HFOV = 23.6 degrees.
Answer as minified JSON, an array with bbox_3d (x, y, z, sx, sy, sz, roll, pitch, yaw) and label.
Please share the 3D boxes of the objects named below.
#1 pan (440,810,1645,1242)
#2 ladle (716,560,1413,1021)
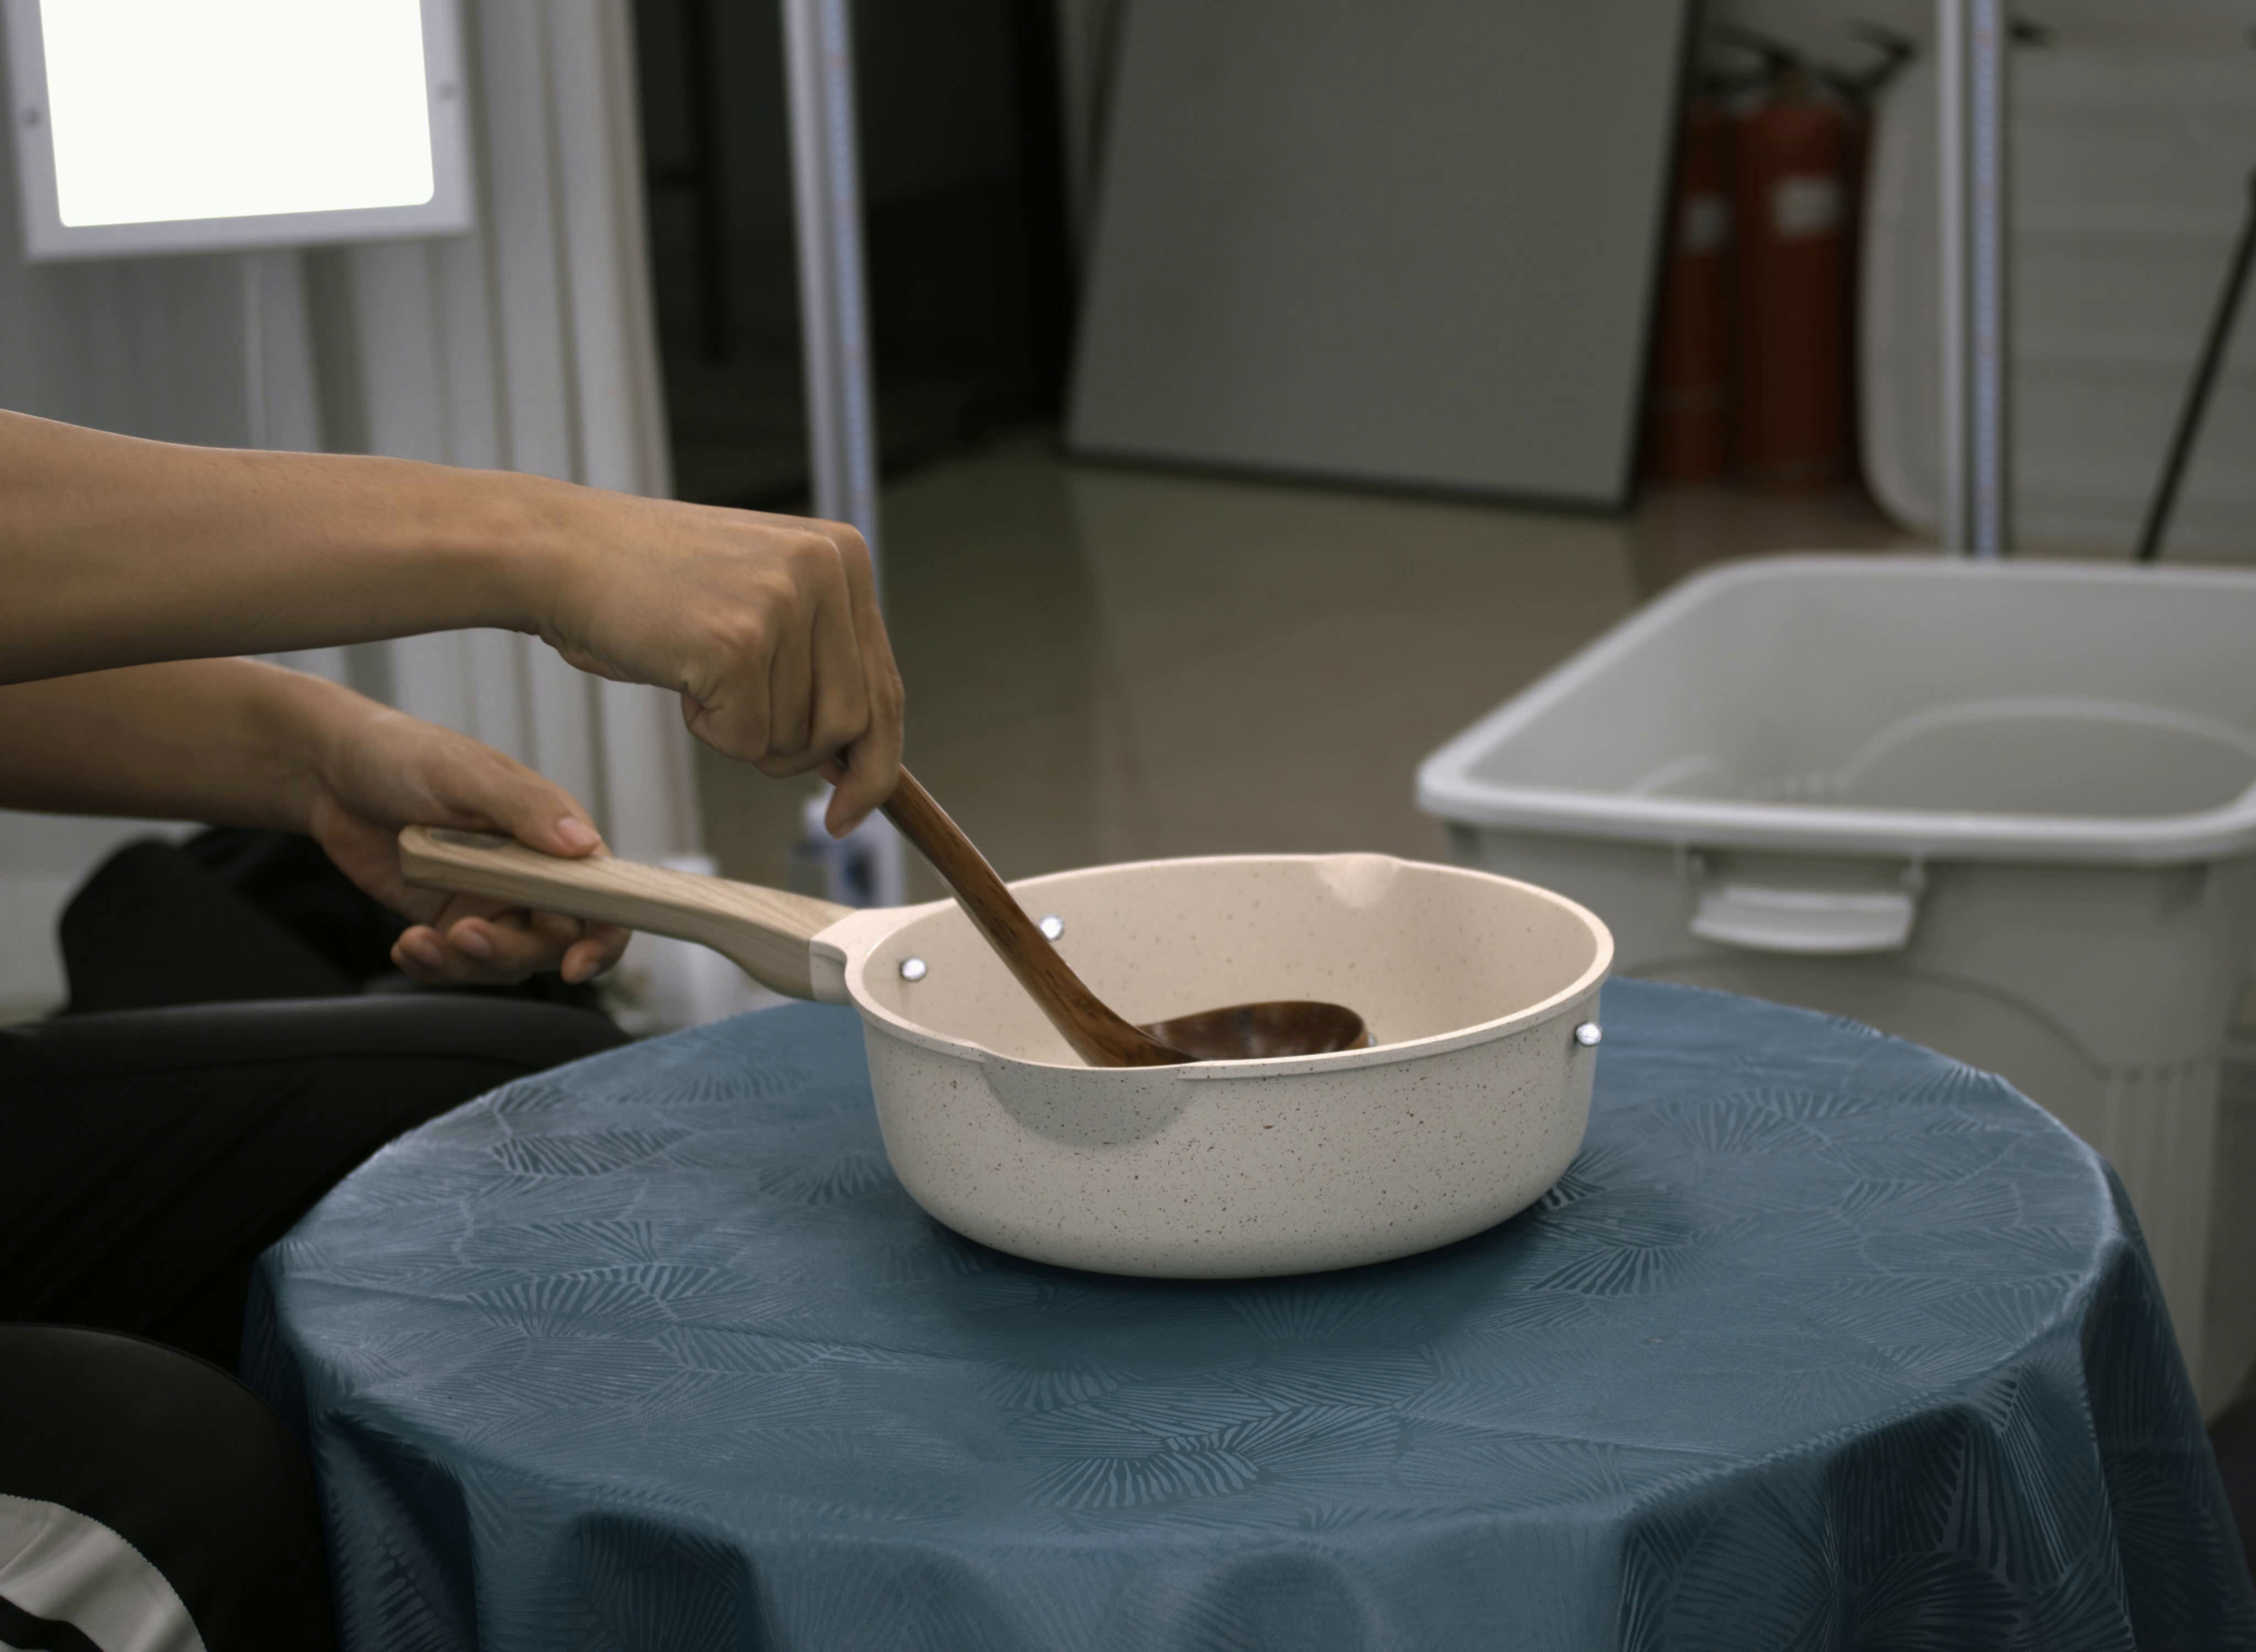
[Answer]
[{"bbox_3d":[-0.036,0.057,1.813,0.435,0.103,0.260,2,16,25],"label":"pan"},{"bbox_3d":[-0.013,-0.008,1.685,0.076,0.272,0.083,-49,23,-16],"label":"ladle"}]
